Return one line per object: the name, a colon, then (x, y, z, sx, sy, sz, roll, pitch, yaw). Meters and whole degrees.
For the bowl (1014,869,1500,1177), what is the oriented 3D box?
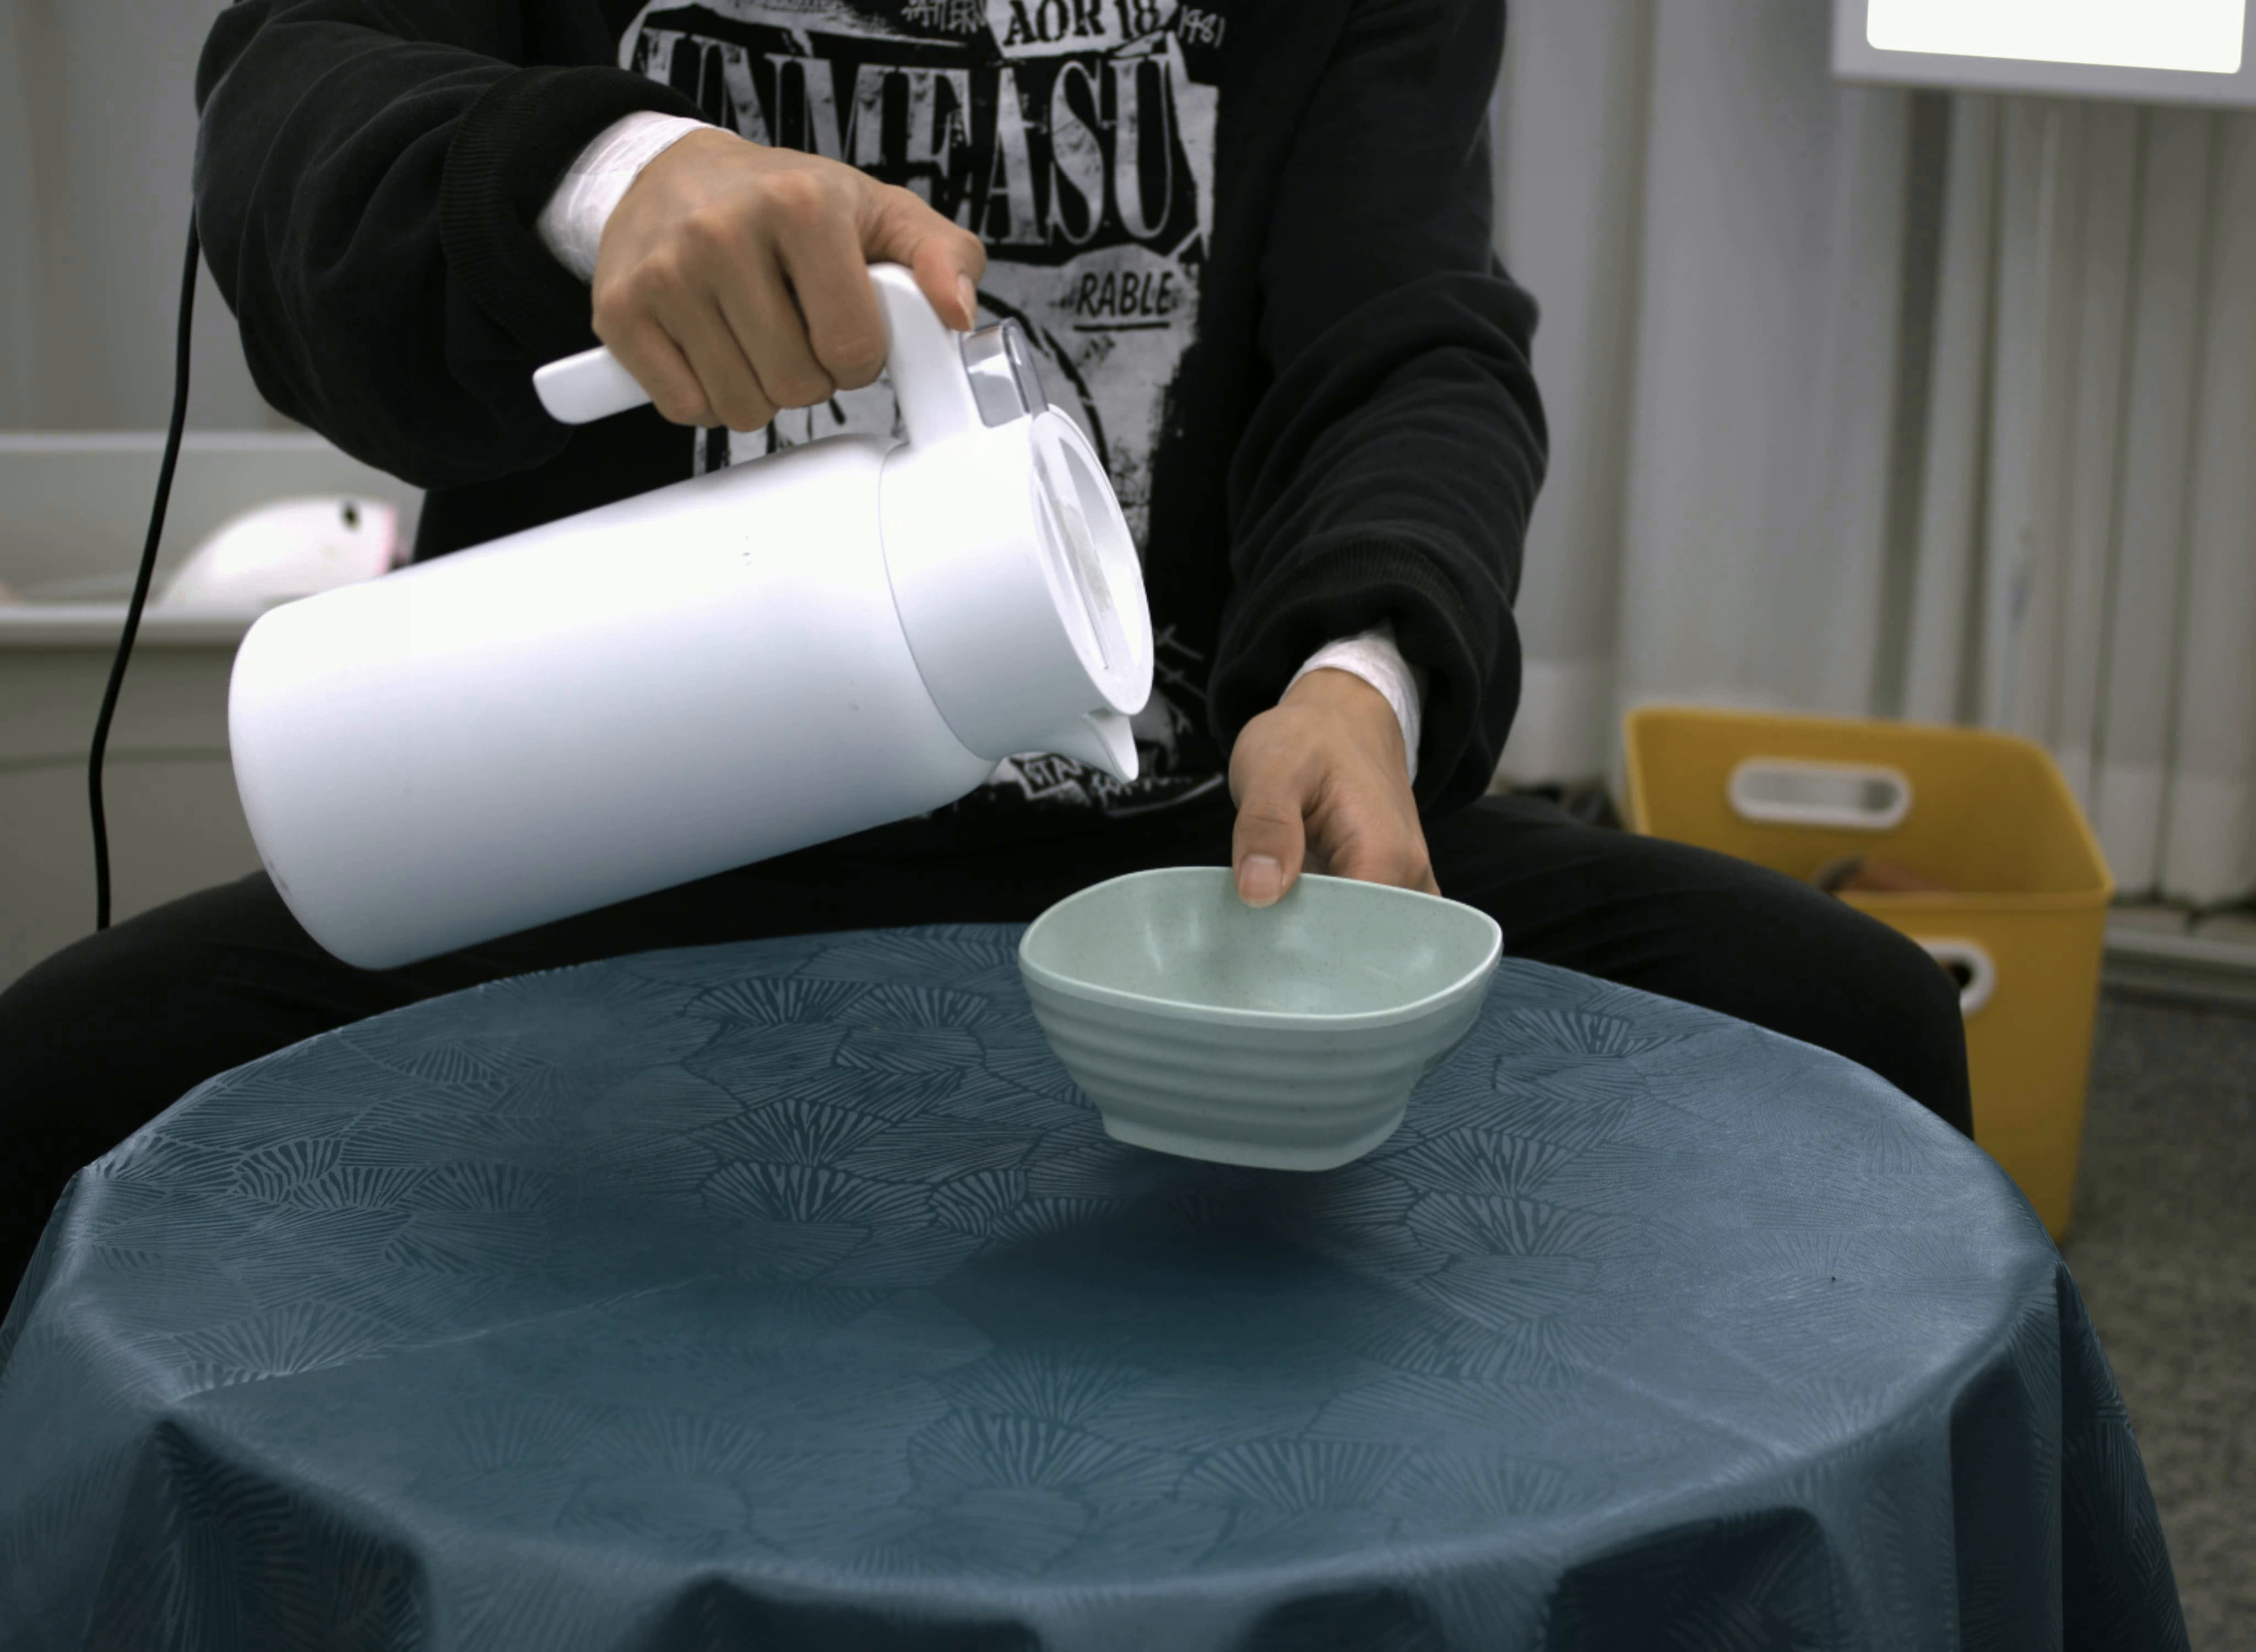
bowl: (0.038, 0.062, 1.576, 0.151, 0.059, 0.150, 2, 17, 0)

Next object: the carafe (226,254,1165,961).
carafe: (-0.137, -0.062, 1.586, 0.267, 0.174, 0.123, -15, 11, 17)
